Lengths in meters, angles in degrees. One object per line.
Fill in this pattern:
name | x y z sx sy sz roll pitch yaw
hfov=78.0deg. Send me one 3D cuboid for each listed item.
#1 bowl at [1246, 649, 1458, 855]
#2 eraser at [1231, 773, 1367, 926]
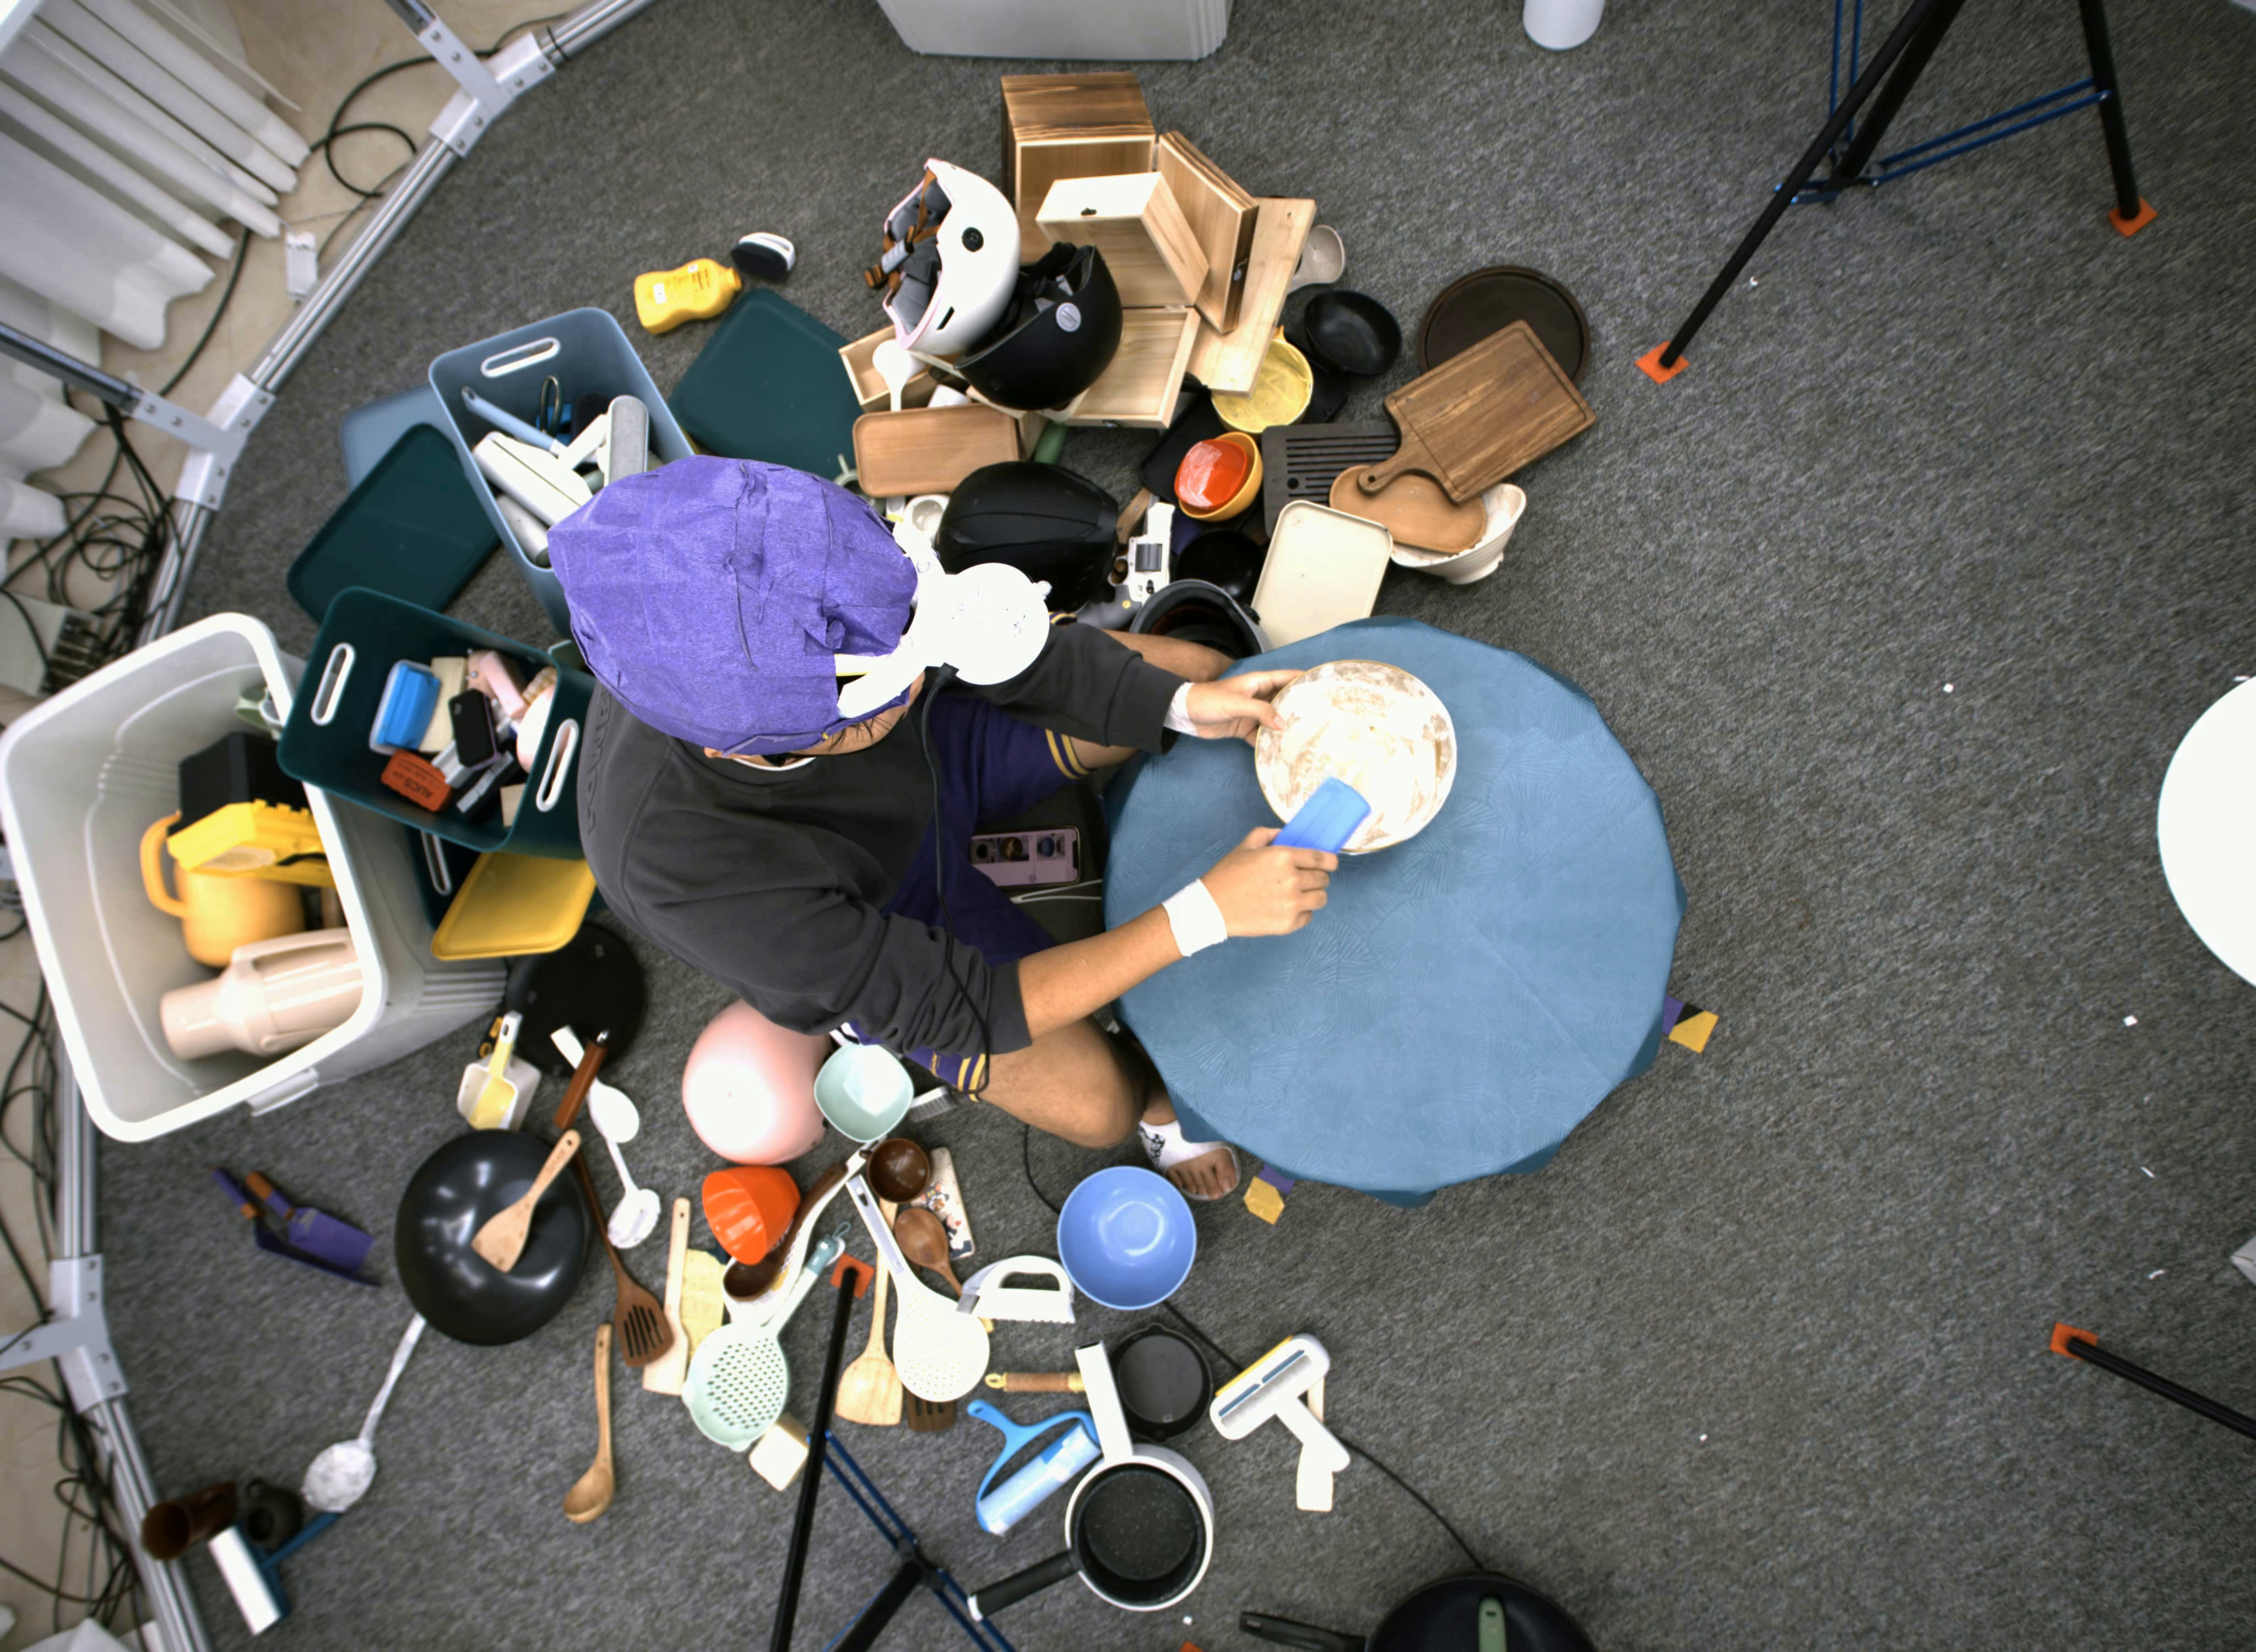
bowl | 0.230 -0.068 1.423 0.215 0.095 0.213 -2 82 10
eraser | 0.167 0.023 1.358 0.053 0.047 0.163 38 98 11
